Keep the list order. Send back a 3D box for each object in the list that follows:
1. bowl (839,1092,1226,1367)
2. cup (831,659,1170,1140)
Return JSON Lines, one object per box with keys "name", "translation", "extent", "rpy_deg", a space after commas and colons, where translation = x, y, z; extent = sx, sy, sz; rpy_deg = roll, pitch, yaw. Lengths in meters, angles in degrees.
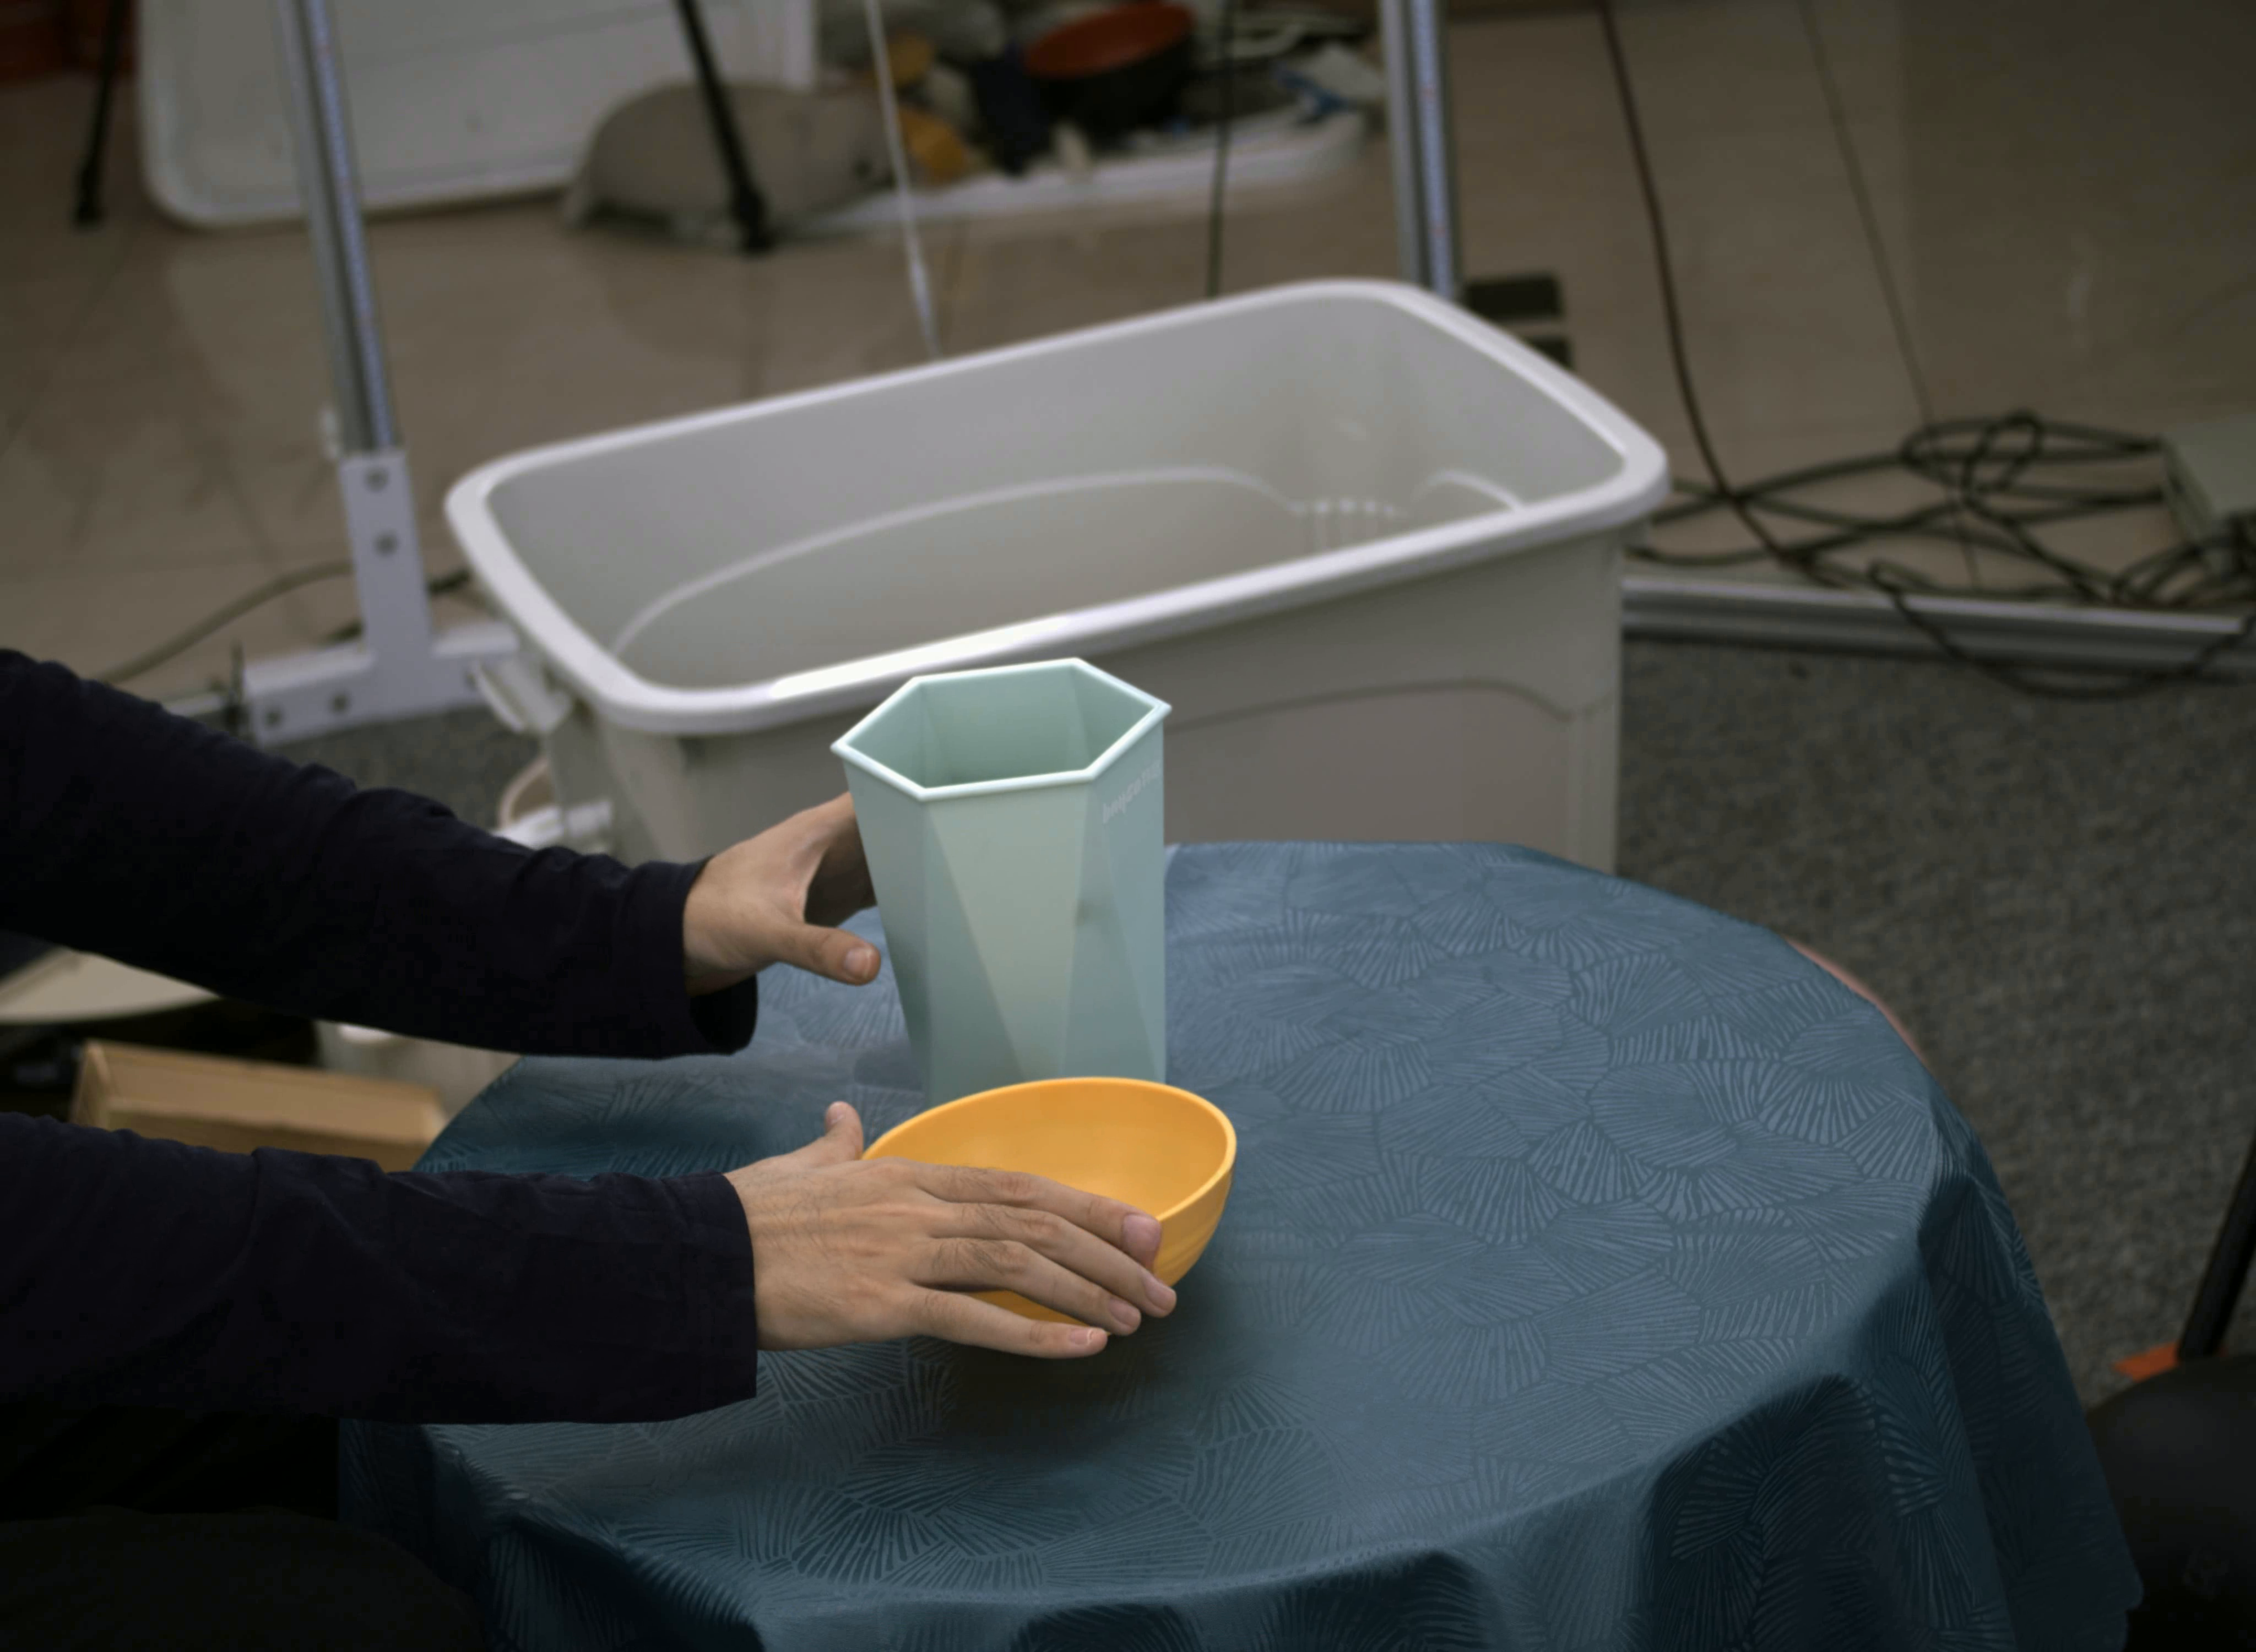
{"name": "bowl", "translation": [-0.028, 0.155, 2.060], "extent": [0.145, 0.061, 0.143], "rpy_deg": [-13, 22, 5]}
{"name": "cup", "translation": [-0.039, 0.033, 2.190], "extent": [0.115, 0.165, 0.129], "rpy_deg": [4, 26, 25]}
